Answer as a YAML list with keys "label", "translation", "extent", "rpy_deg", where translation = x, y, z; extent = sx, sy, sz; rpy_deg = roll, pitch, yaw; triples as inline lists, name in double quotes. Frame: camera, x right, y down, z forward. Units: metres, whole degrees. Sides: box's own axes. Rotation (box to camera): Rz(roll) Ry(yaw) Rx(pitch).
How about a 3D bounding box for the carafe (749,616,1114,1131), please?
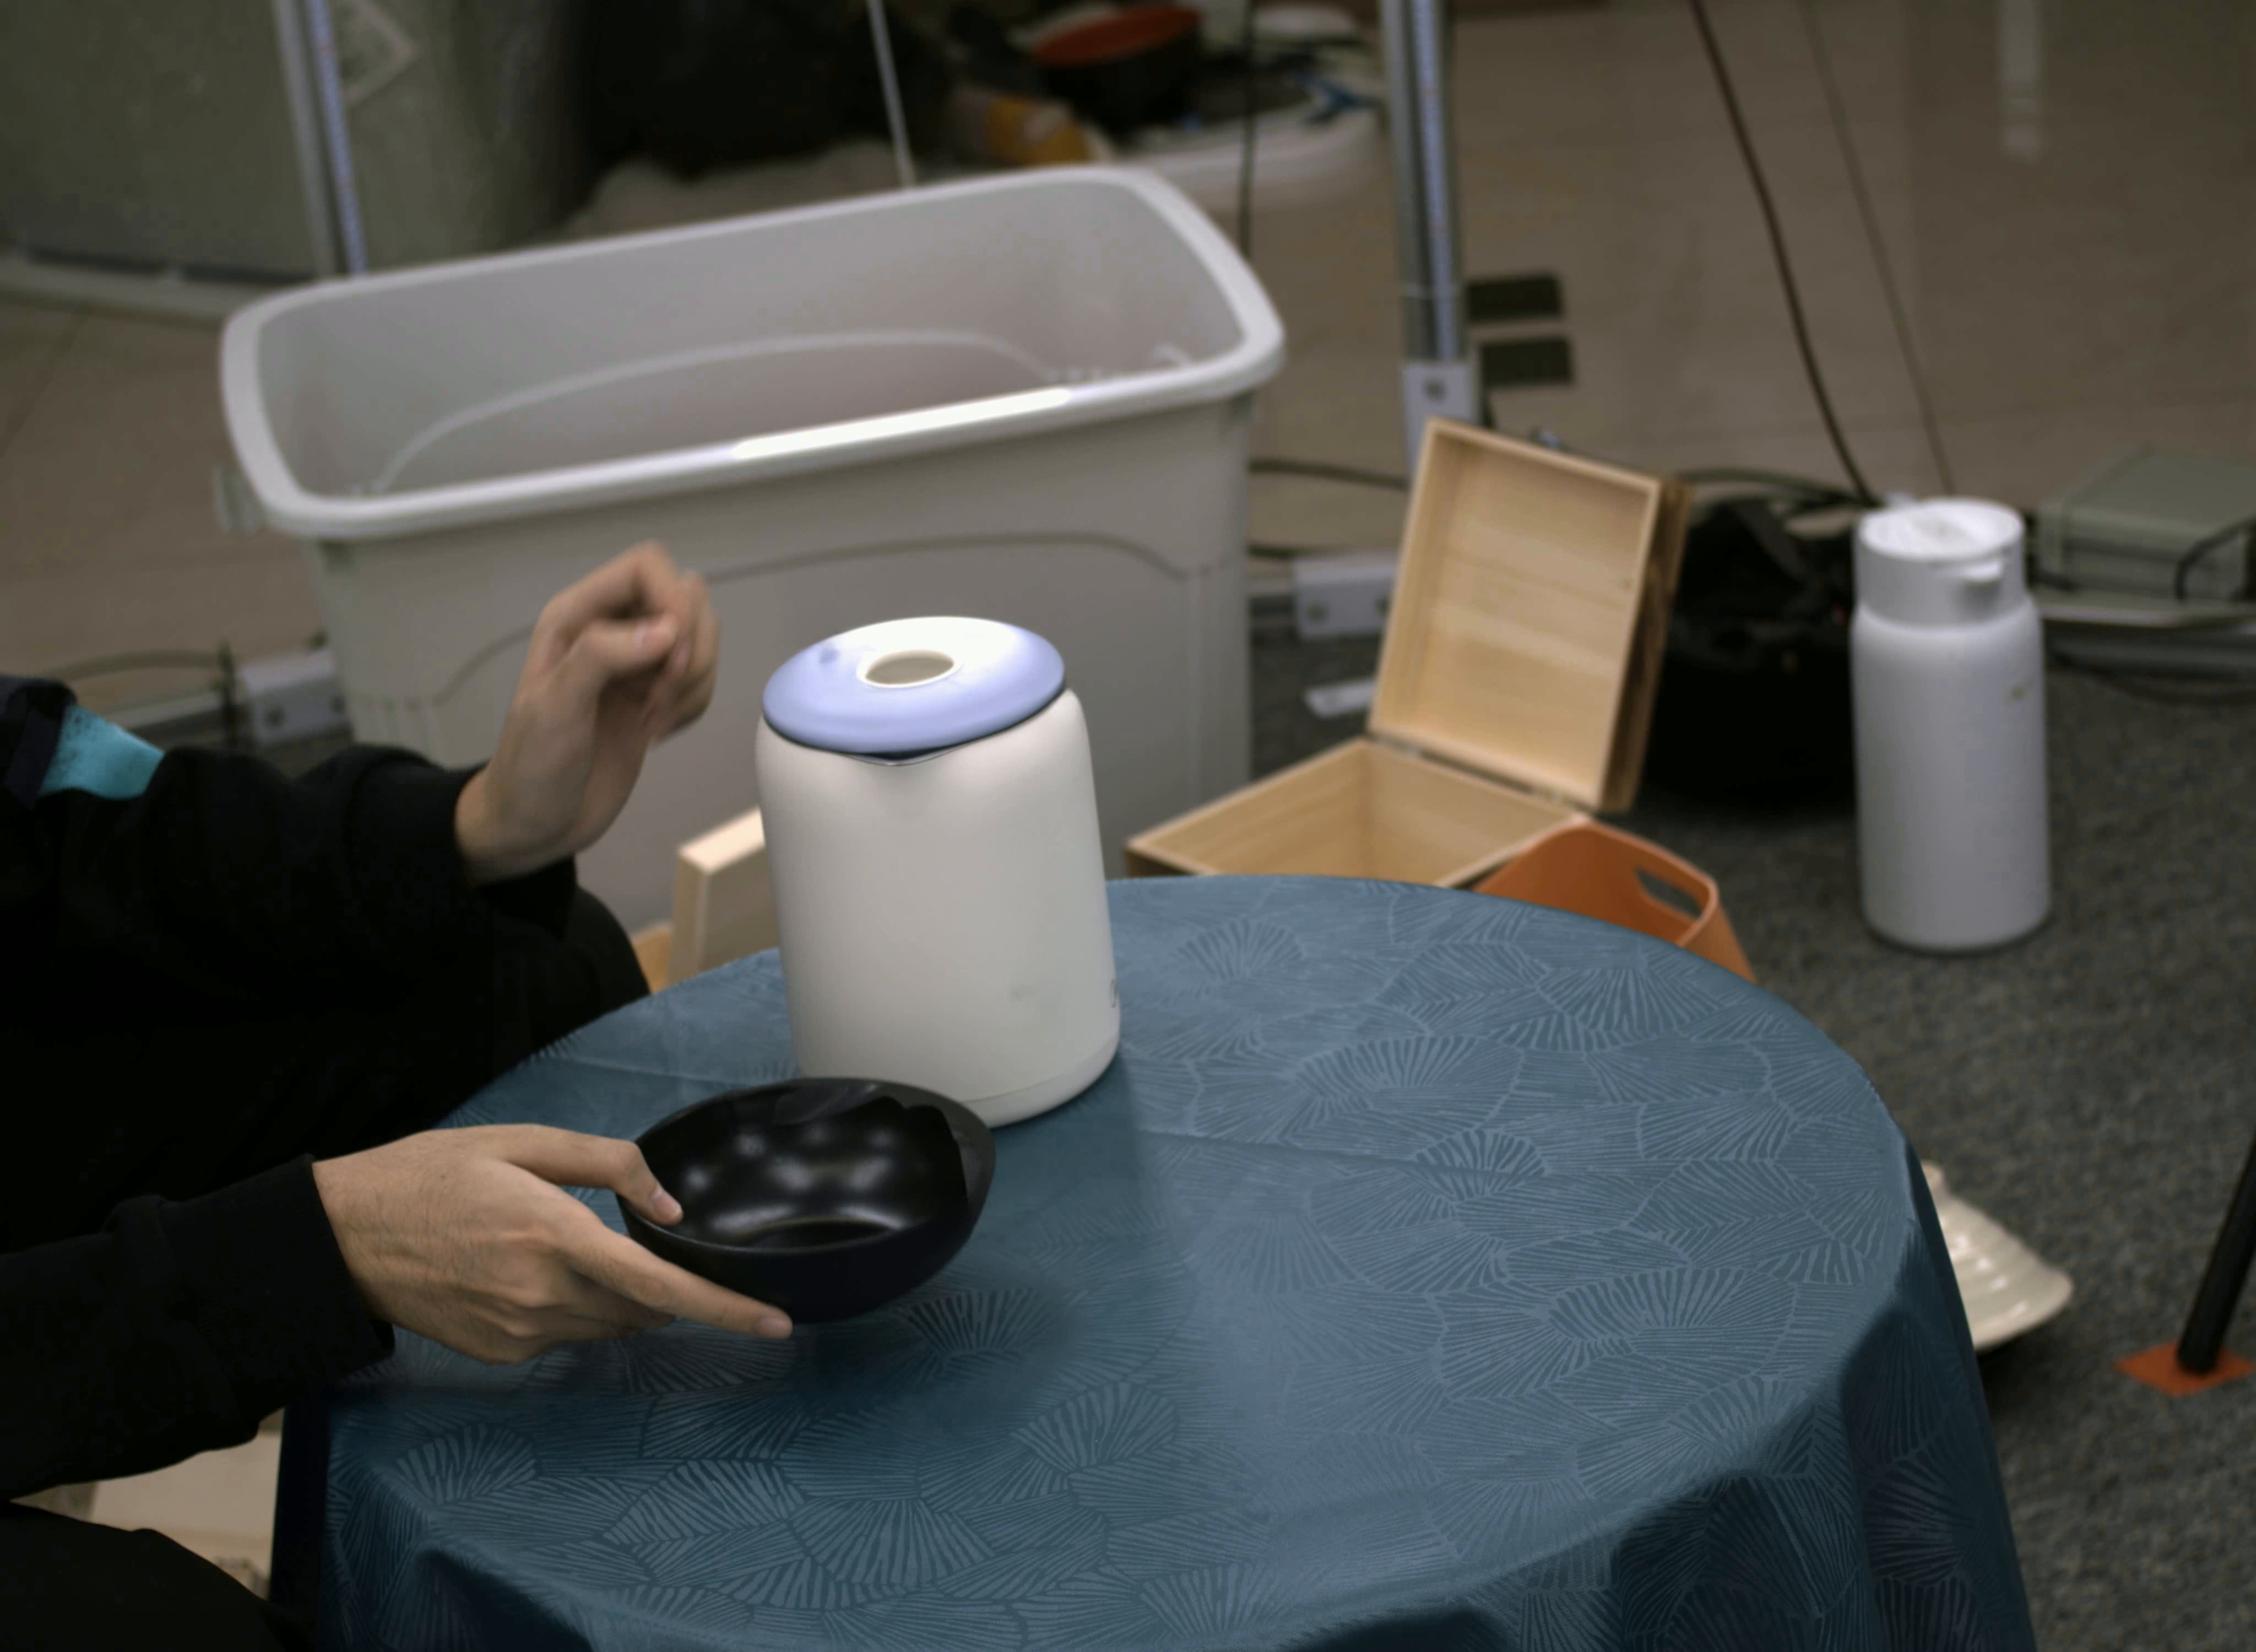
- label: "carafe"
  translation: [-0.076, 0.009, 2.236]
  extent: [0.132, 0.185, 0.188]
  rpy_deg: [-4, 23, 2]

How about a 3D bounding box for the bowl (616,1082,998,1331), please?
- label: "bowl"
  translation: [-0.114, 0.145, 2.060]
  extent: [0.140, 0.050, 0.138]
  rpy_deg: [-4, 24, 2]
